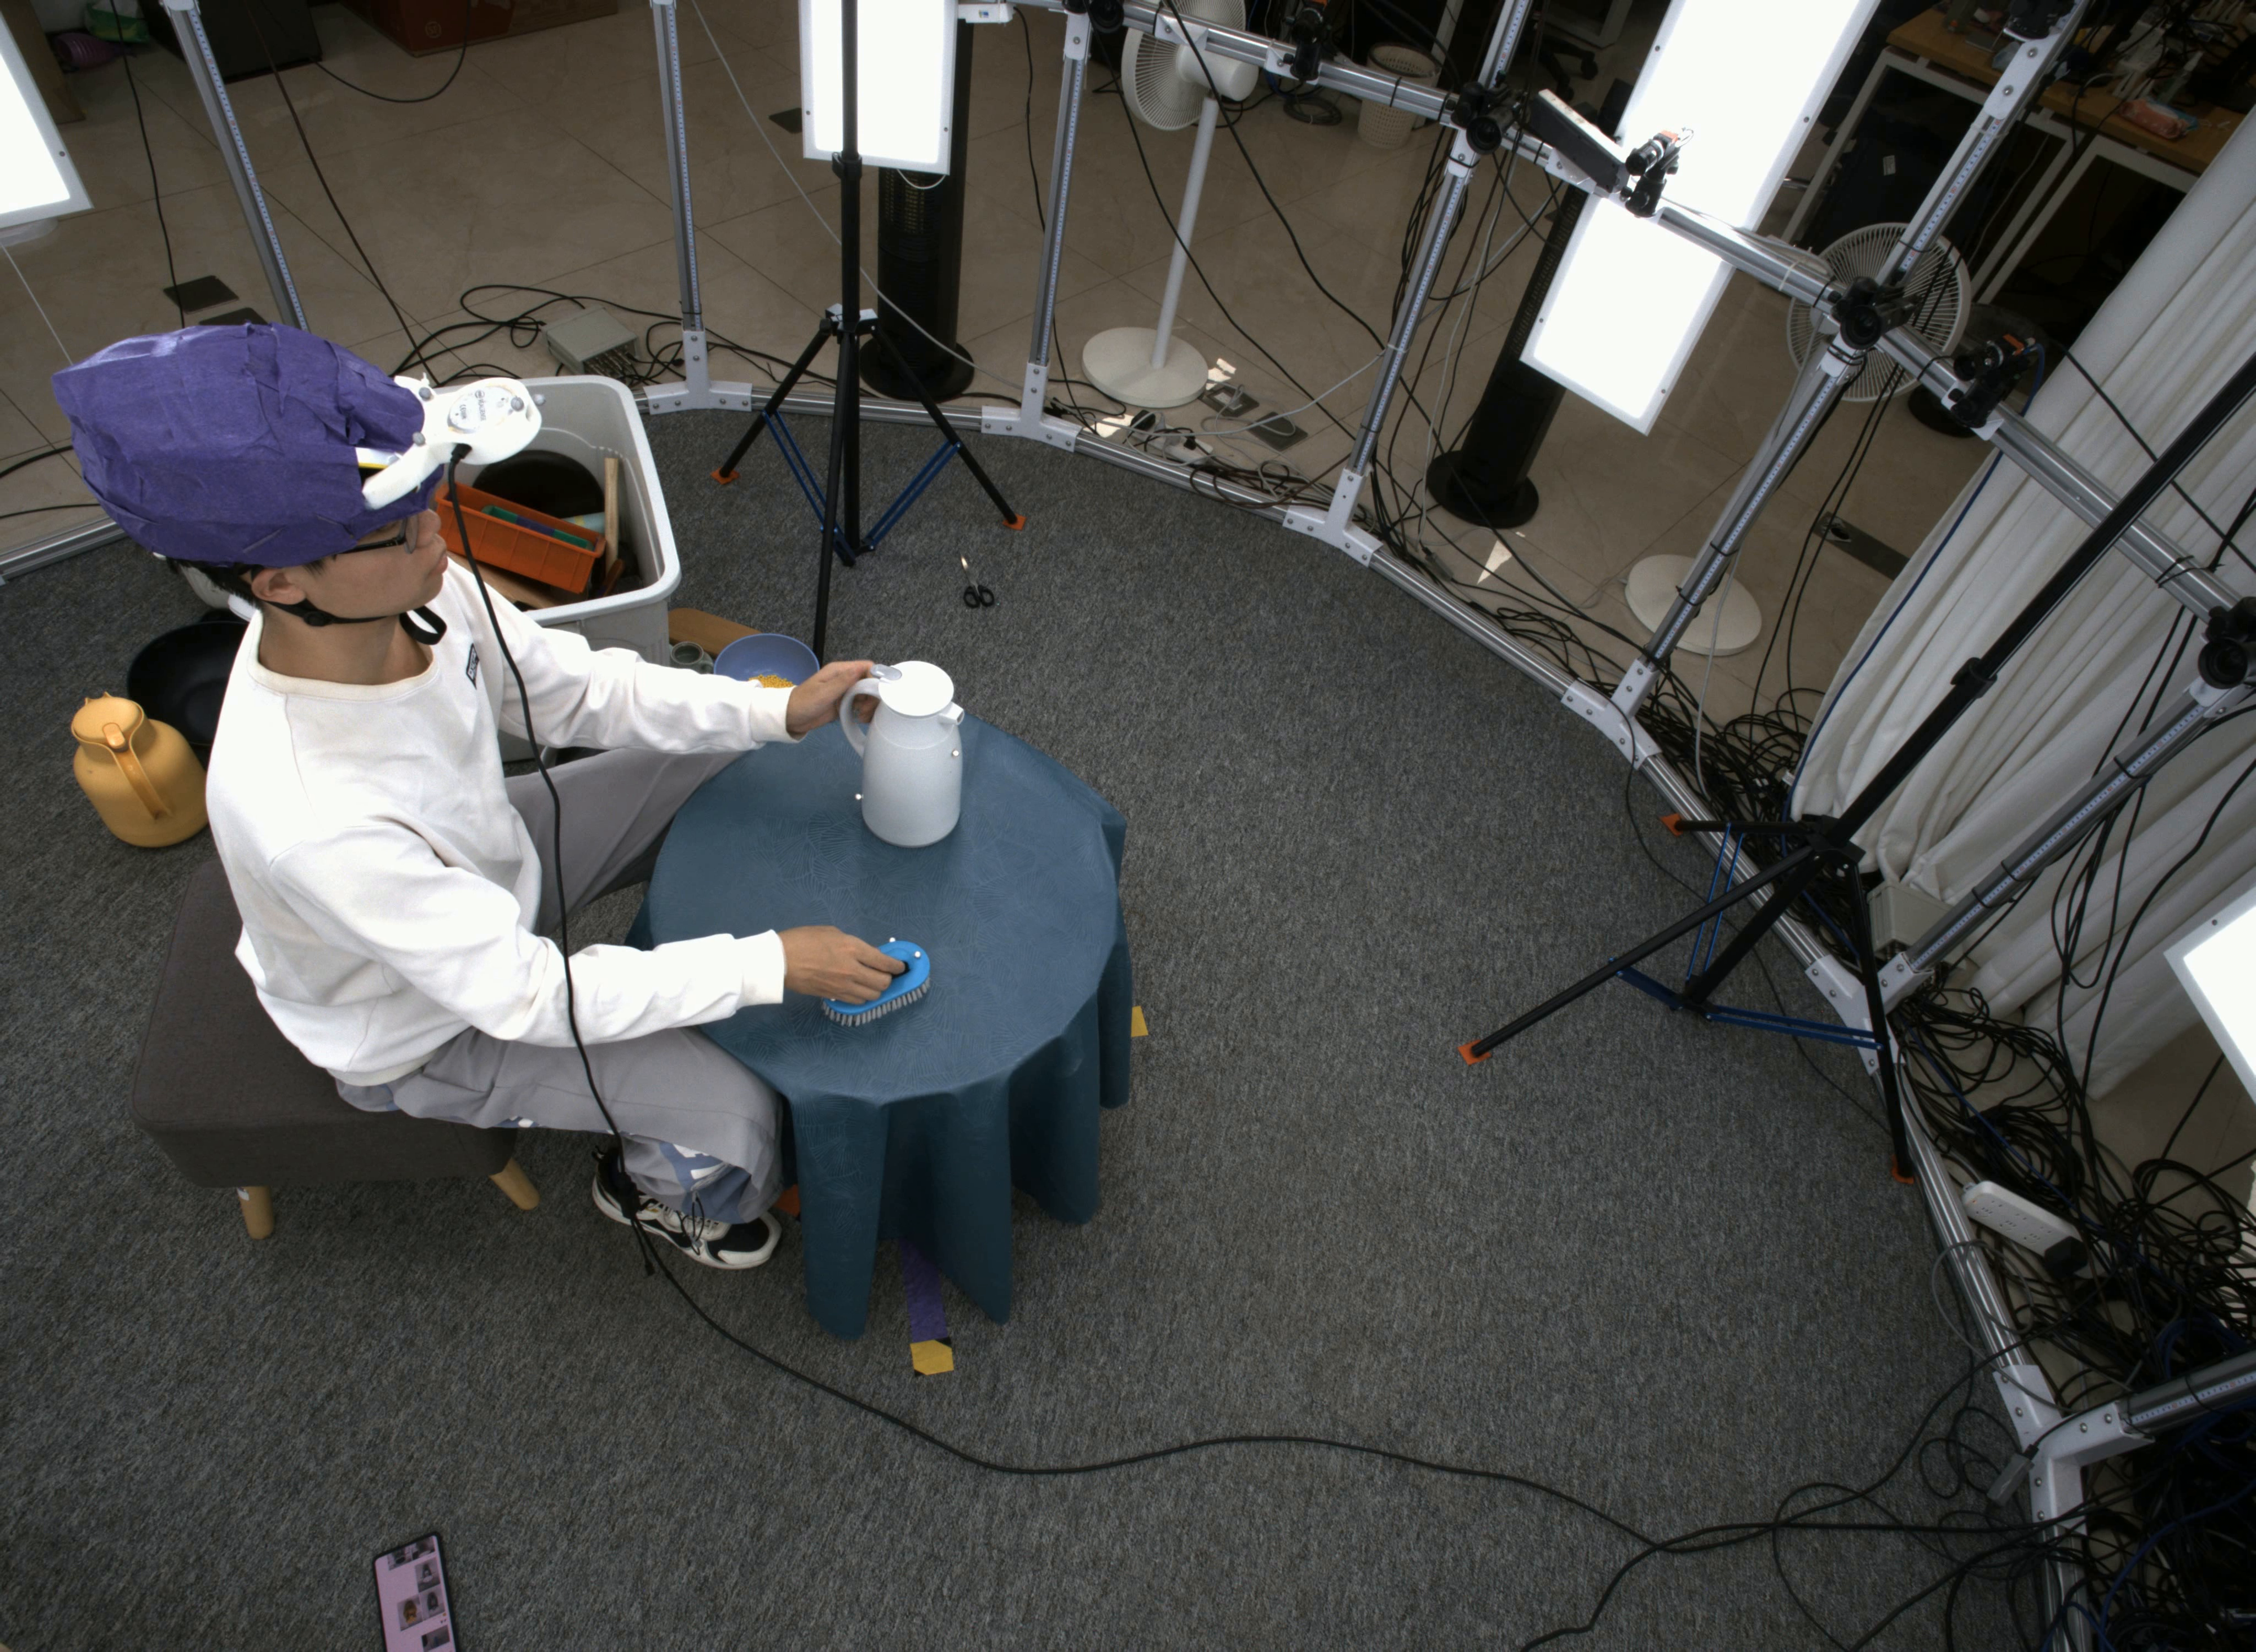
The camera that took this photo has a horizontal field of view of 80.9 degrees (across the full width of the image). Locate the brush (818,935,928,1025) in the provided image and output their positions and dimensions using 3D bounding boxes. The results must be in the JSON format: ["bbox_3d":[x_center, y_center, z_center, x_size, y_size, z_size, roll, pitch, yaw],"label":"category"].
[{"bbox_3d":[-0.309,0.181,1.587,0.142,0.065,0.082,-22,66,-24],"label":"brush"}]

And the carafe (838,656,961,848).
[{"bbox_3d":[-0.297,-0.107,1.683,0.165,0.254,0.131,21,52,7],"label":"carafe"}]
